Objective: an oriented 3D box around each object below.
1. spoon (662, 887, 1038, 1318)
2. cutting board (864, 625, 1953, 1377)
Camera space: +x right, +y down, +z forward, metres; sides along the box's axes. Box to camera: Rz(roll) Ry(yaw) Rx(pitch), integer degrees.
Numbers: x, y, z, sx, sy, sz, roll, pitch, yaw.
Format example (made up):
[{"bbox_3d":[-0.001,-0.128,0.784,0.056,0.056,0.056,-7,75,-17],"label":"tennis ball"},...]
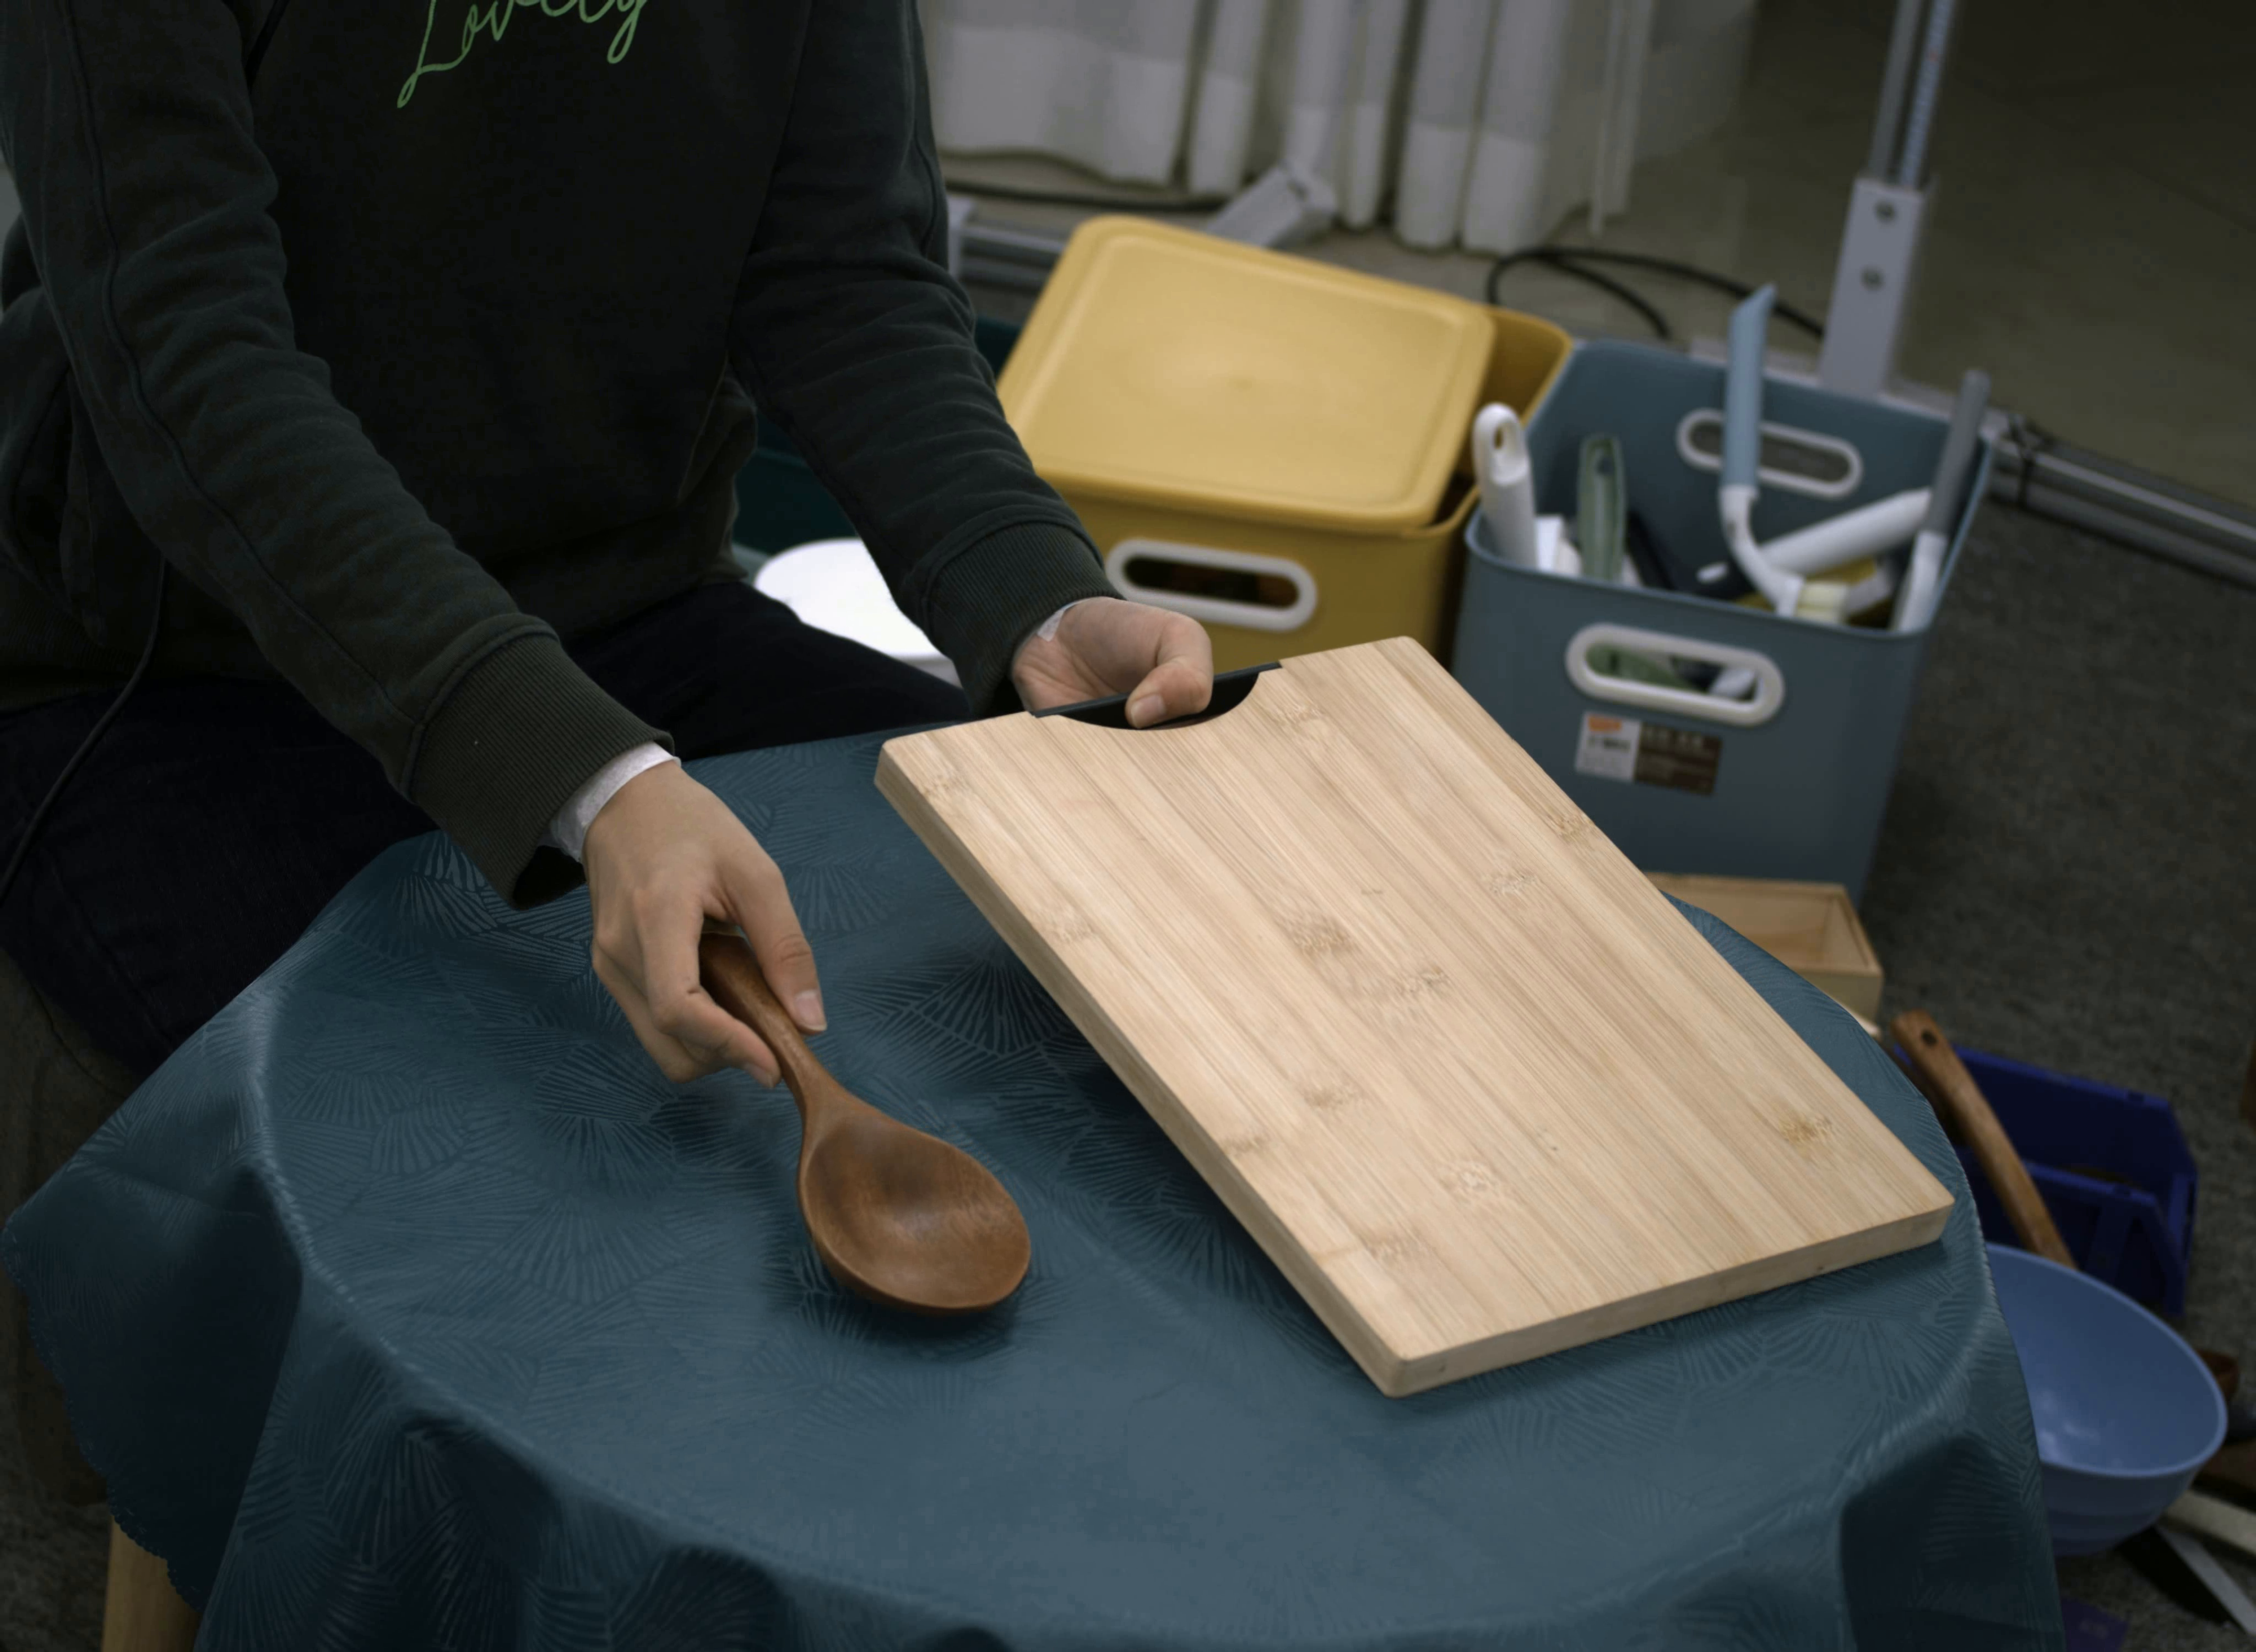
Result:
[{"bbox_3d":[-0.100,0.092,1.770,0.075,0.017,0.218,-12,45,-29],"label":"spoon"},{"bbox_3d":[0.093,0.053,1.868,0.249,0.023,0.352,-12,43,-33],"label":"cutting board"}]
